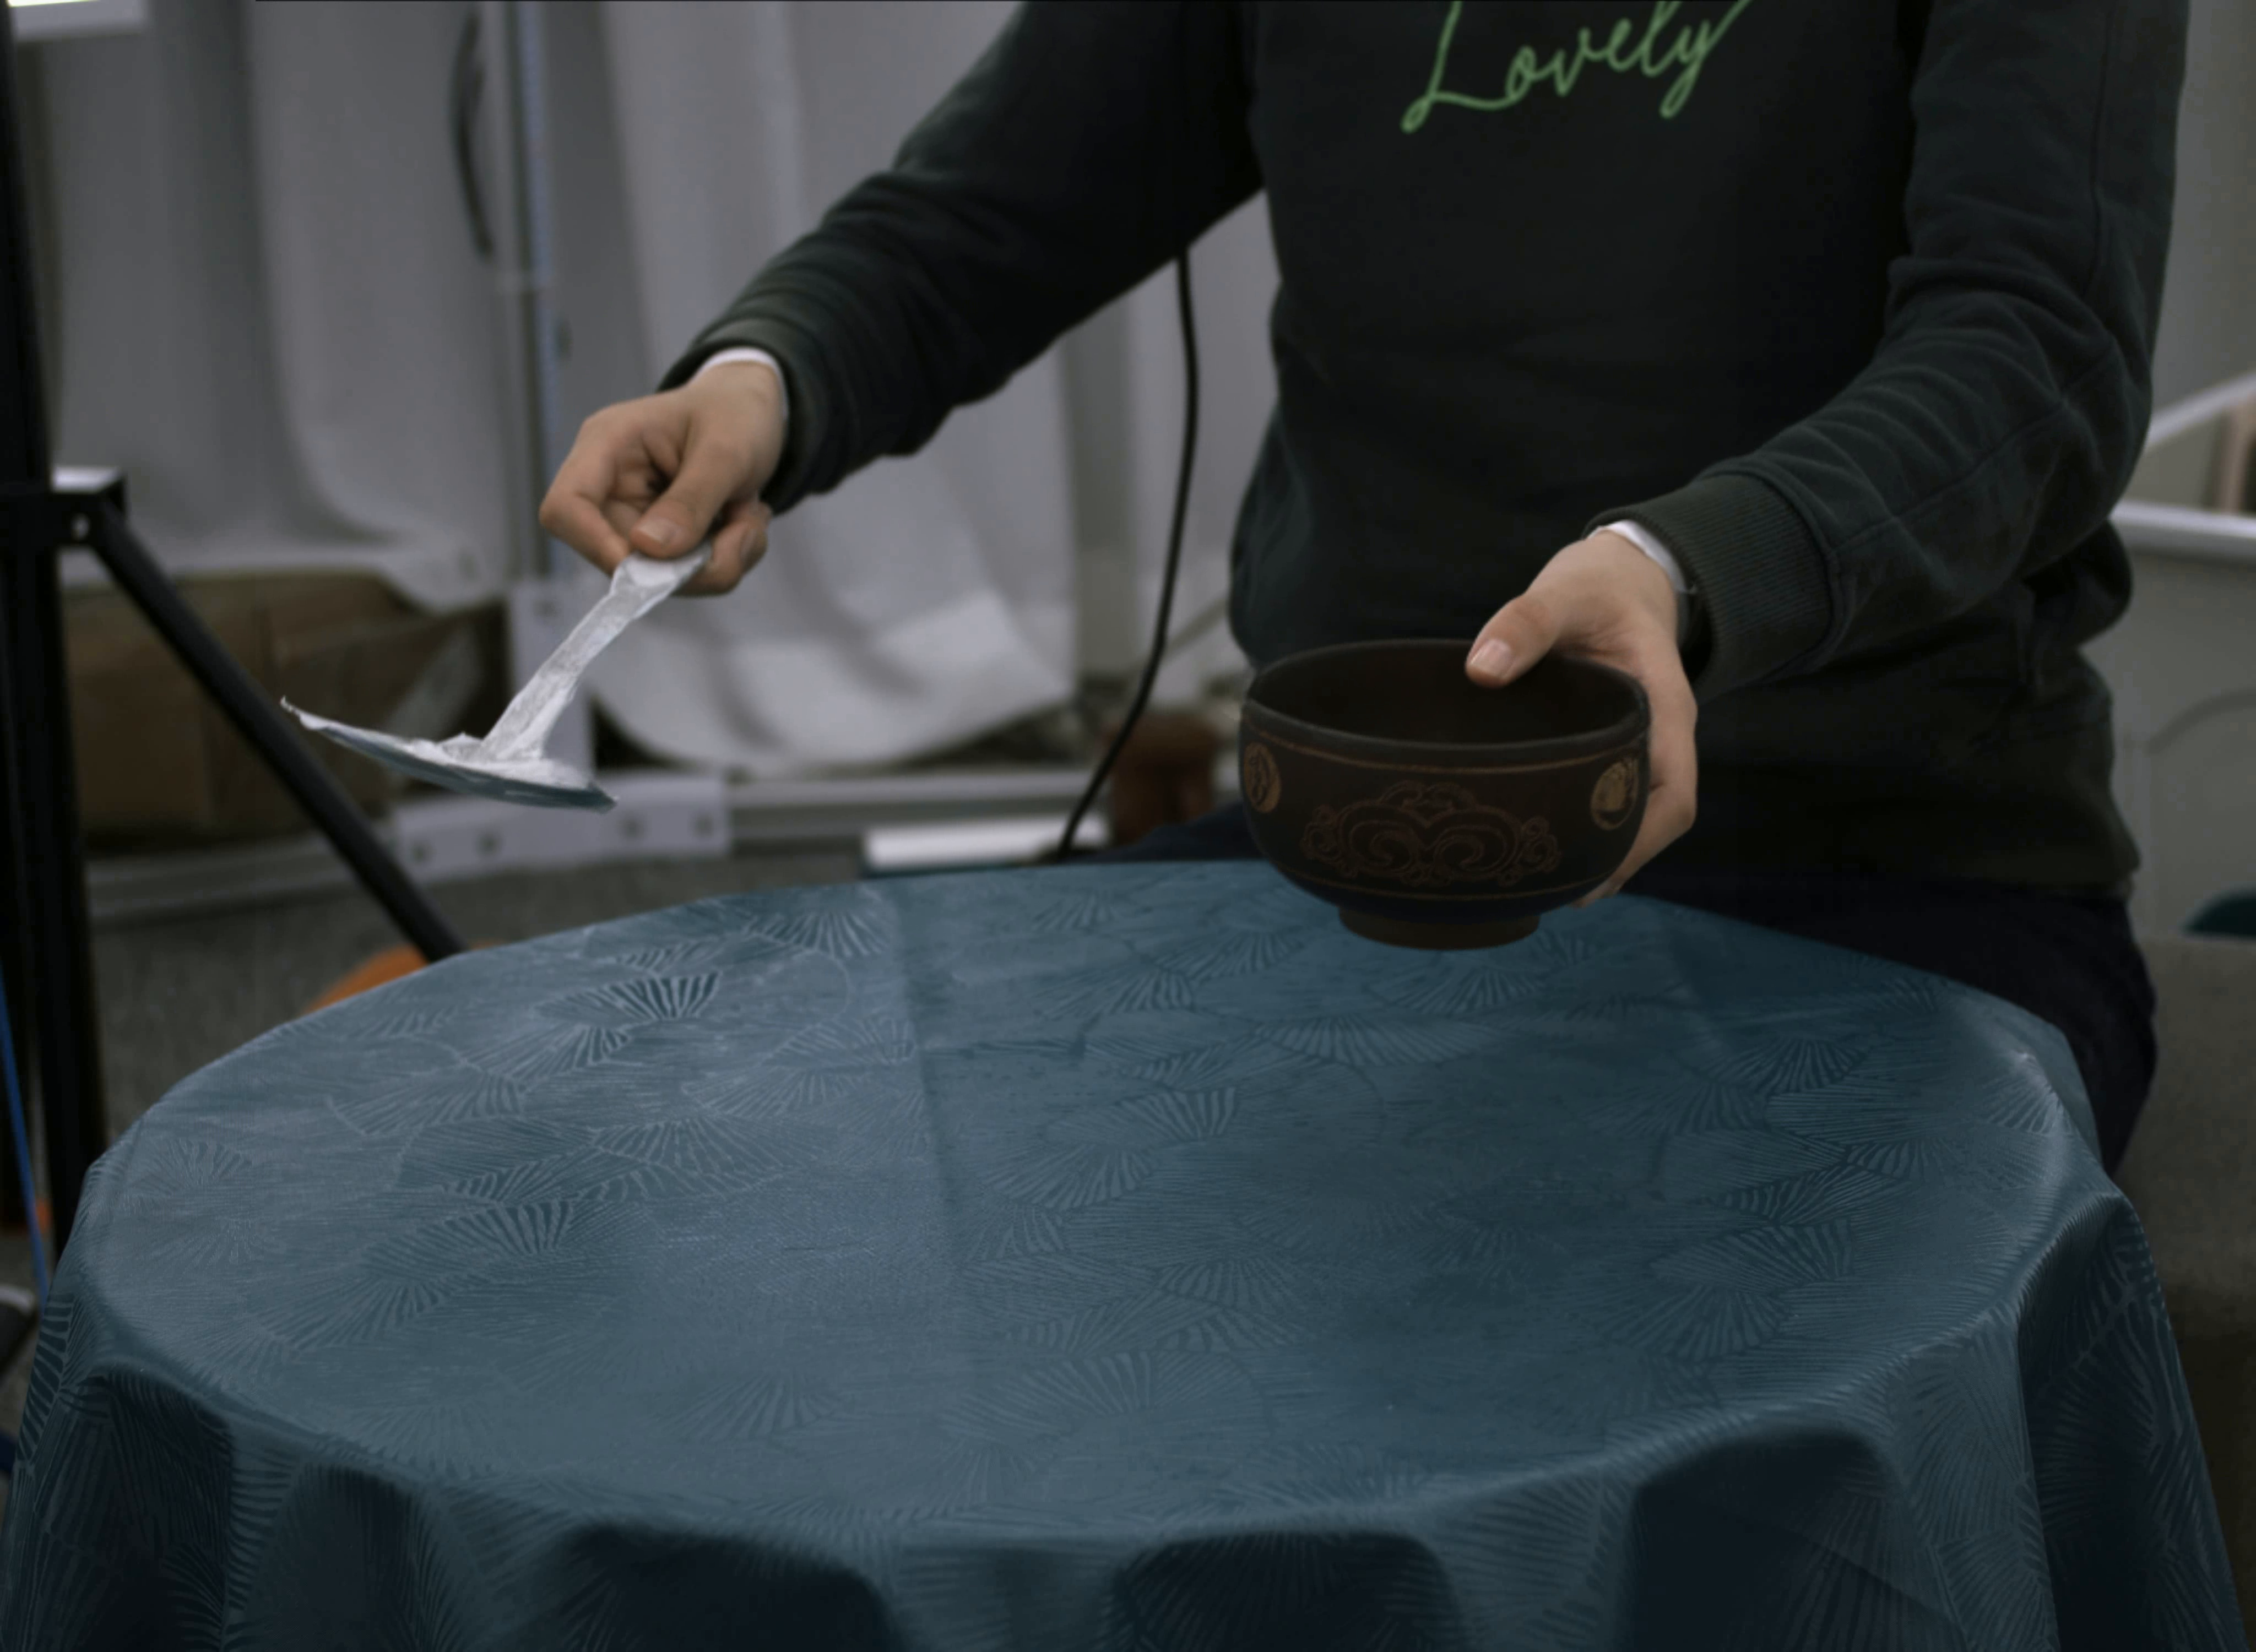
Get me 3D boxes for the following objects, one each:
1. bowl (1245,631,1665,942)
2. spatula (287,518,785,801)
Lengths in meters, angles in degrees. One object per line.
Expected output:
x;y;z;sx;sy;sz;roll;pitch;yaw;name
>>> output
0.091;-0.008;1.498;0.117;0.070;0.118;2;15;-2;bowl
-0.166;-0.064;1.697;0.099;0.045;0.363;13;21;8;spatula
